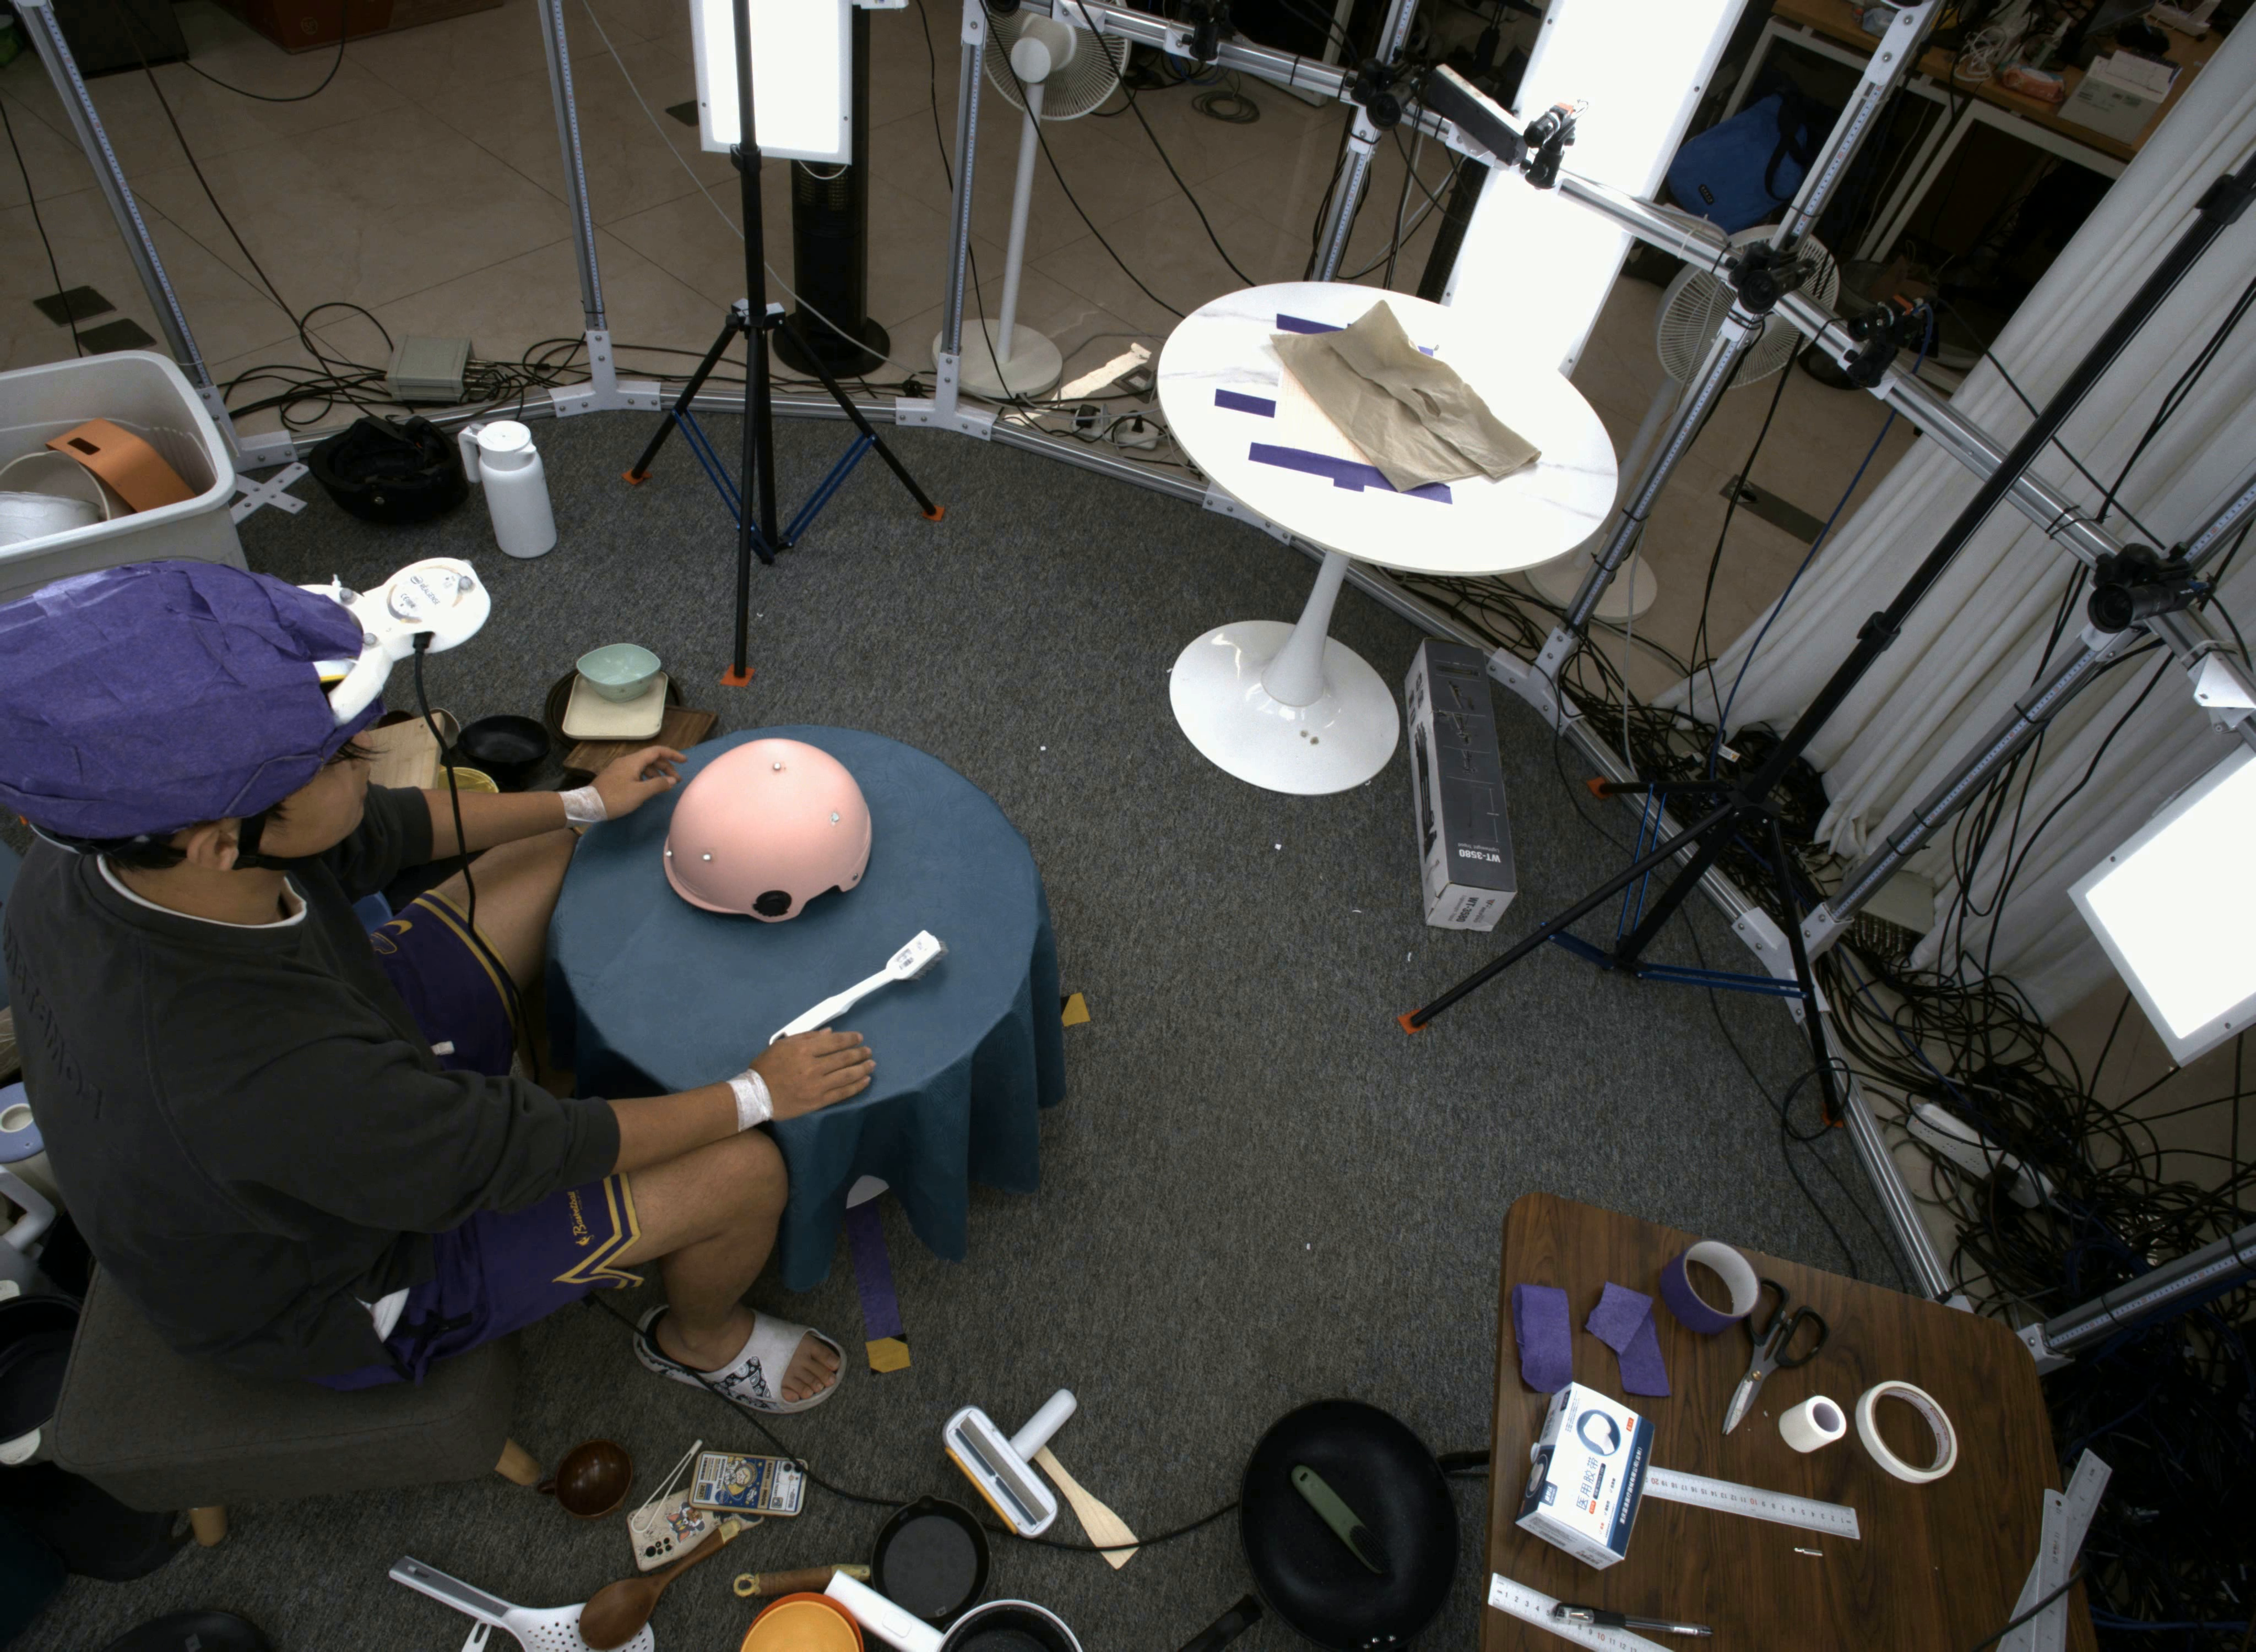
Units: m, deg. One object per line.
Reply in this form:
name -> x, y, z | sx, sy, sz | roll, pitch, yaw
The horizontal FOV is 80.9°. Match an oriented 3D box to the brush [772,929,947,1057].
brush -> -0.326, 0.206, 1.586 | 0.243, 0.051, 0.033 | -37, 69, -18

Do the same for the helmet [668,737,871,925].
helmet -> -0.460, -0.014, 1.633 | 0.266, 0.162, 0.228 | -20, 61, -21
